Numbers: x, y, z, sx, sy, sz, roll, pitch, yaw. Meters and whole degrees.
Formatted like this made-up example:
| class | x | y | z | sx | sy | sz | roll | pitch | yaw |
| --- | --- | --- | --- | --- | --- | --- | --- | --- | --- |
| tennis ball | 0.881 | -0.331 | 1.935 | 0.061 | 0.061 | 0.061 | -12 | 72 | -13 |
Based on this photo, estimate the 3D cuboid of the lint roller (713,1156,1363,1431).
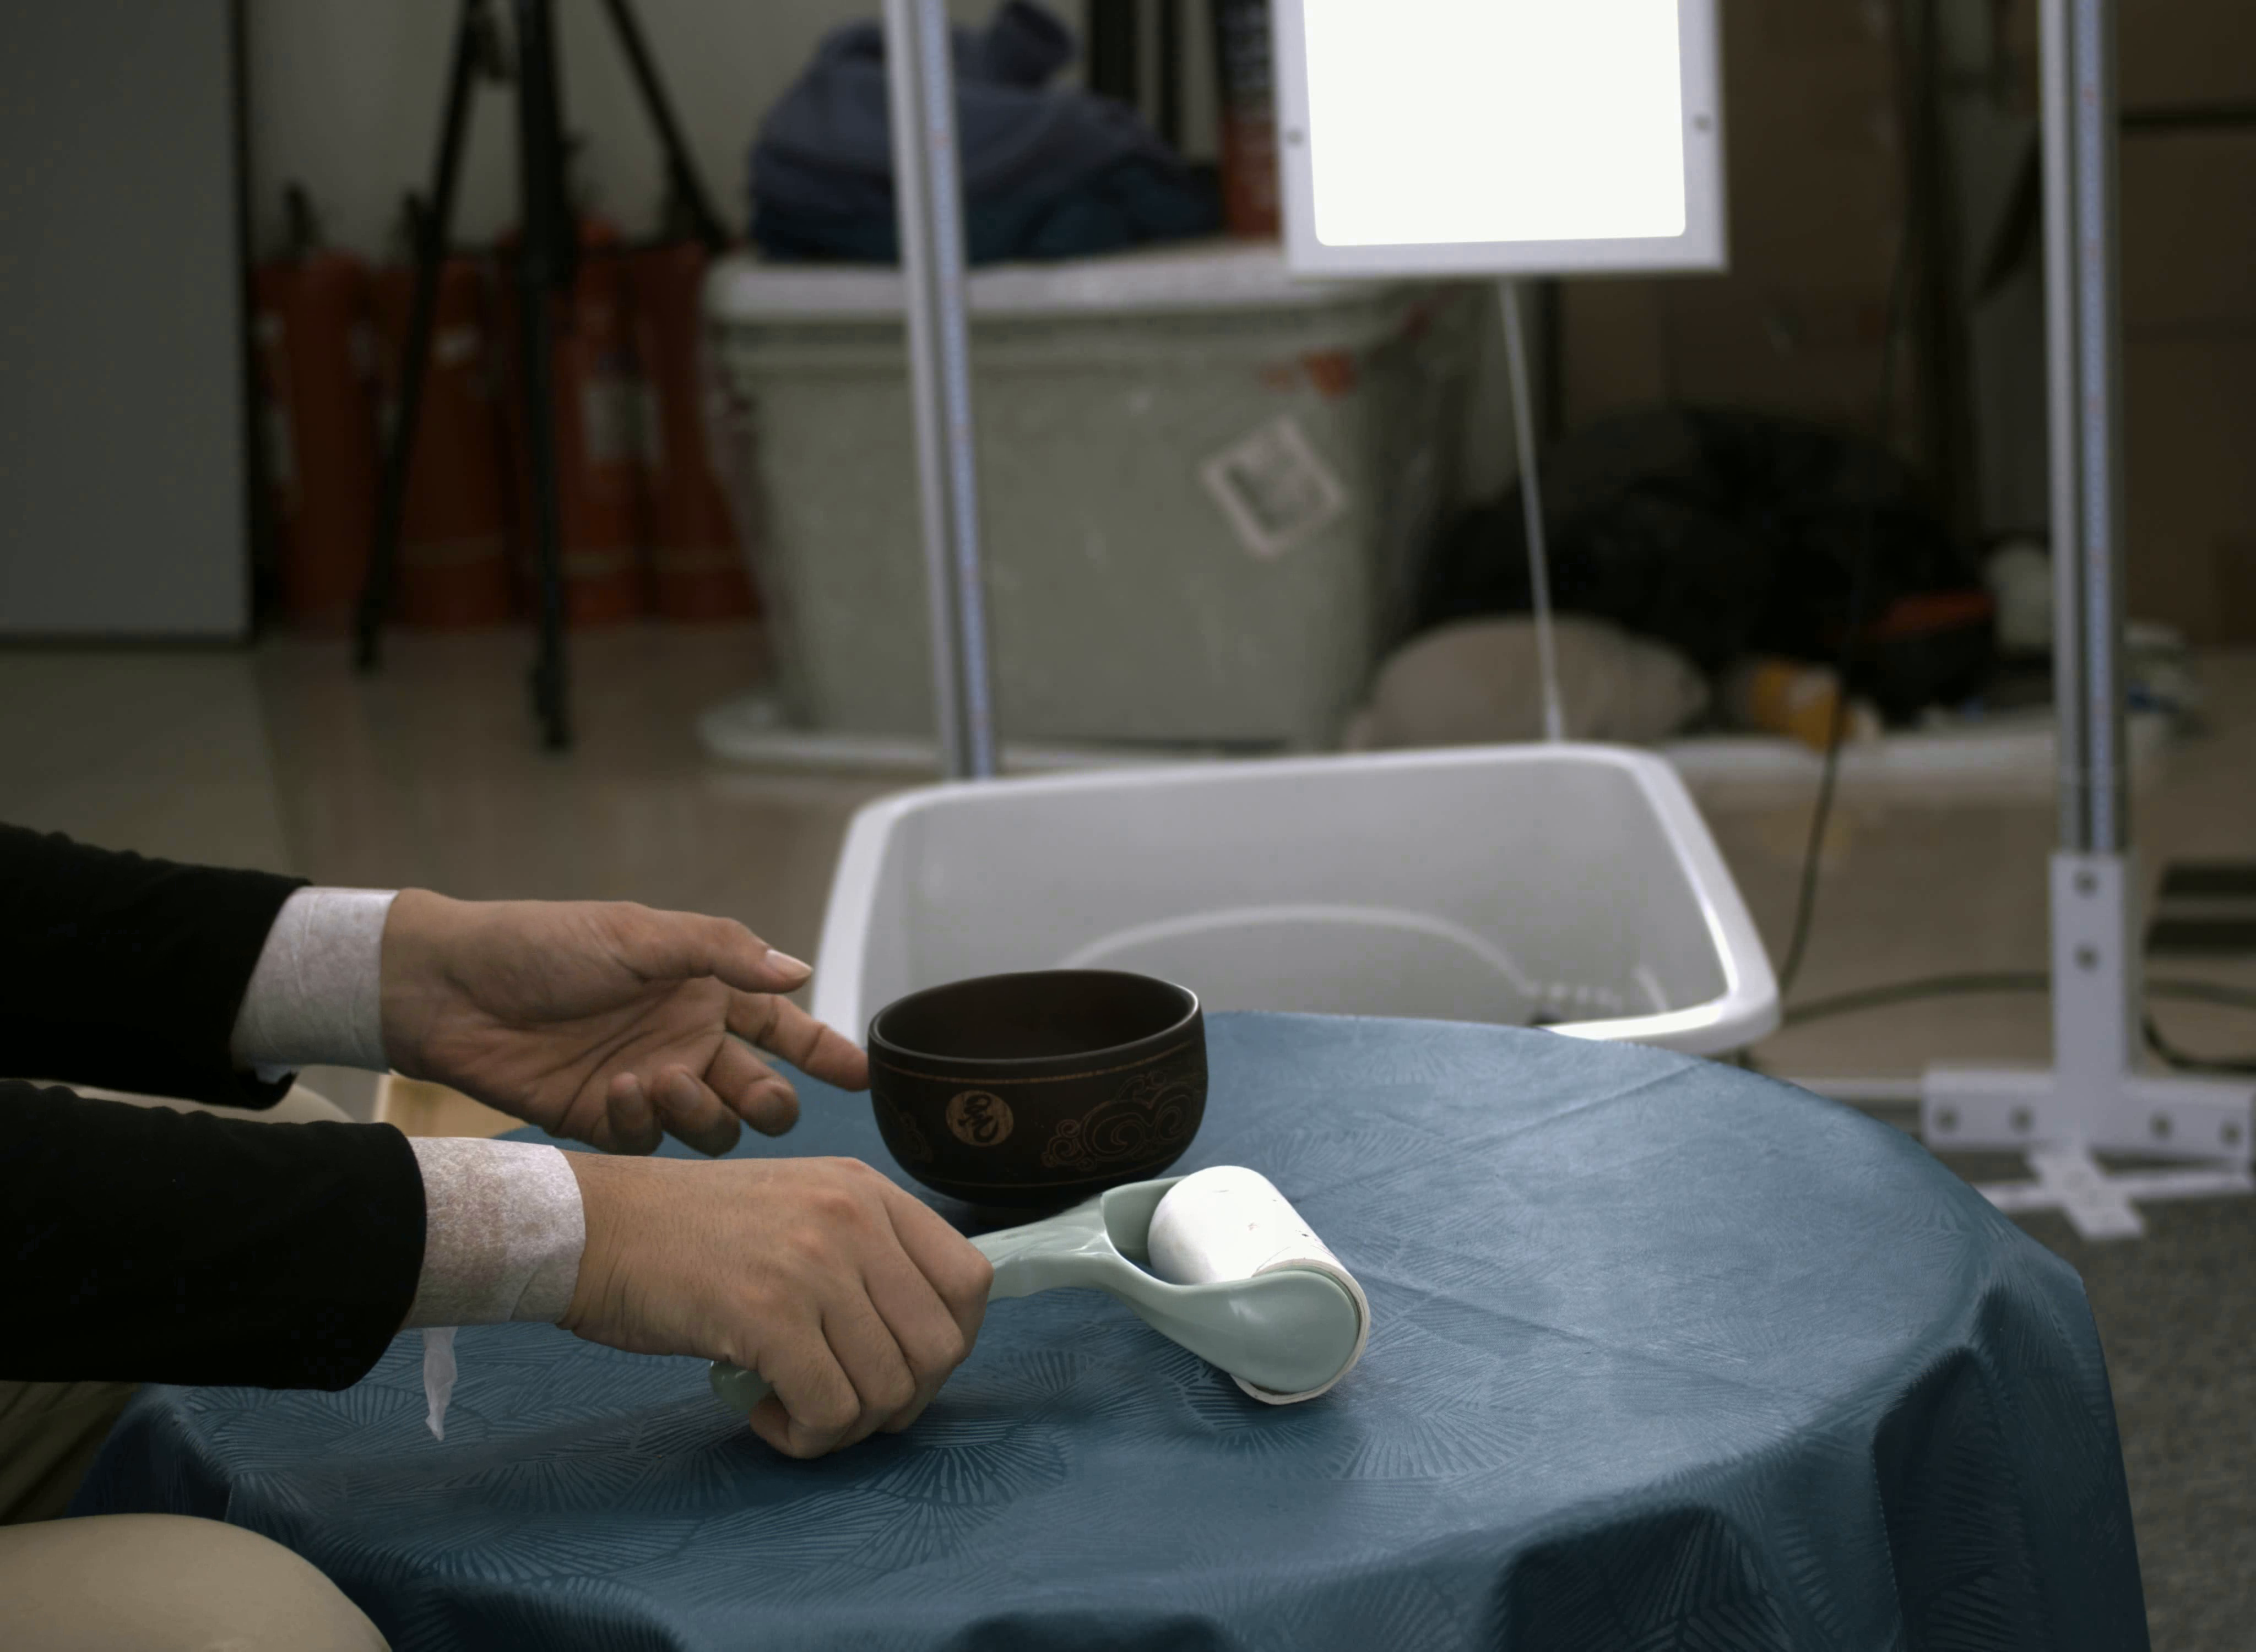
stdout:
| class | x | y | z | sx | sy | sz | roll | pitch | yaw |
| --- | --- | --- | --- | --- | --- | --- | --- | --- | --- |
| lint roller | -0.034 | 0.149 | 1.714 | 0.195 | 0.049 | 0.117 | -7 | 15 | -10 |

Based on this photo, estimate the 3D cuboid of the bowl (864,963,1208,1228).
| class | x | y | z | sx | sy | sz | roll | pitch | yaw |
| --- | --- | --- | --- | --- | --- | --- | --- | --- | --- |
| bowl | -0.030 | 0.096 | 1.884 | 0.118 | 0.070 | 0.118 | -6 | 15 | 0 |
